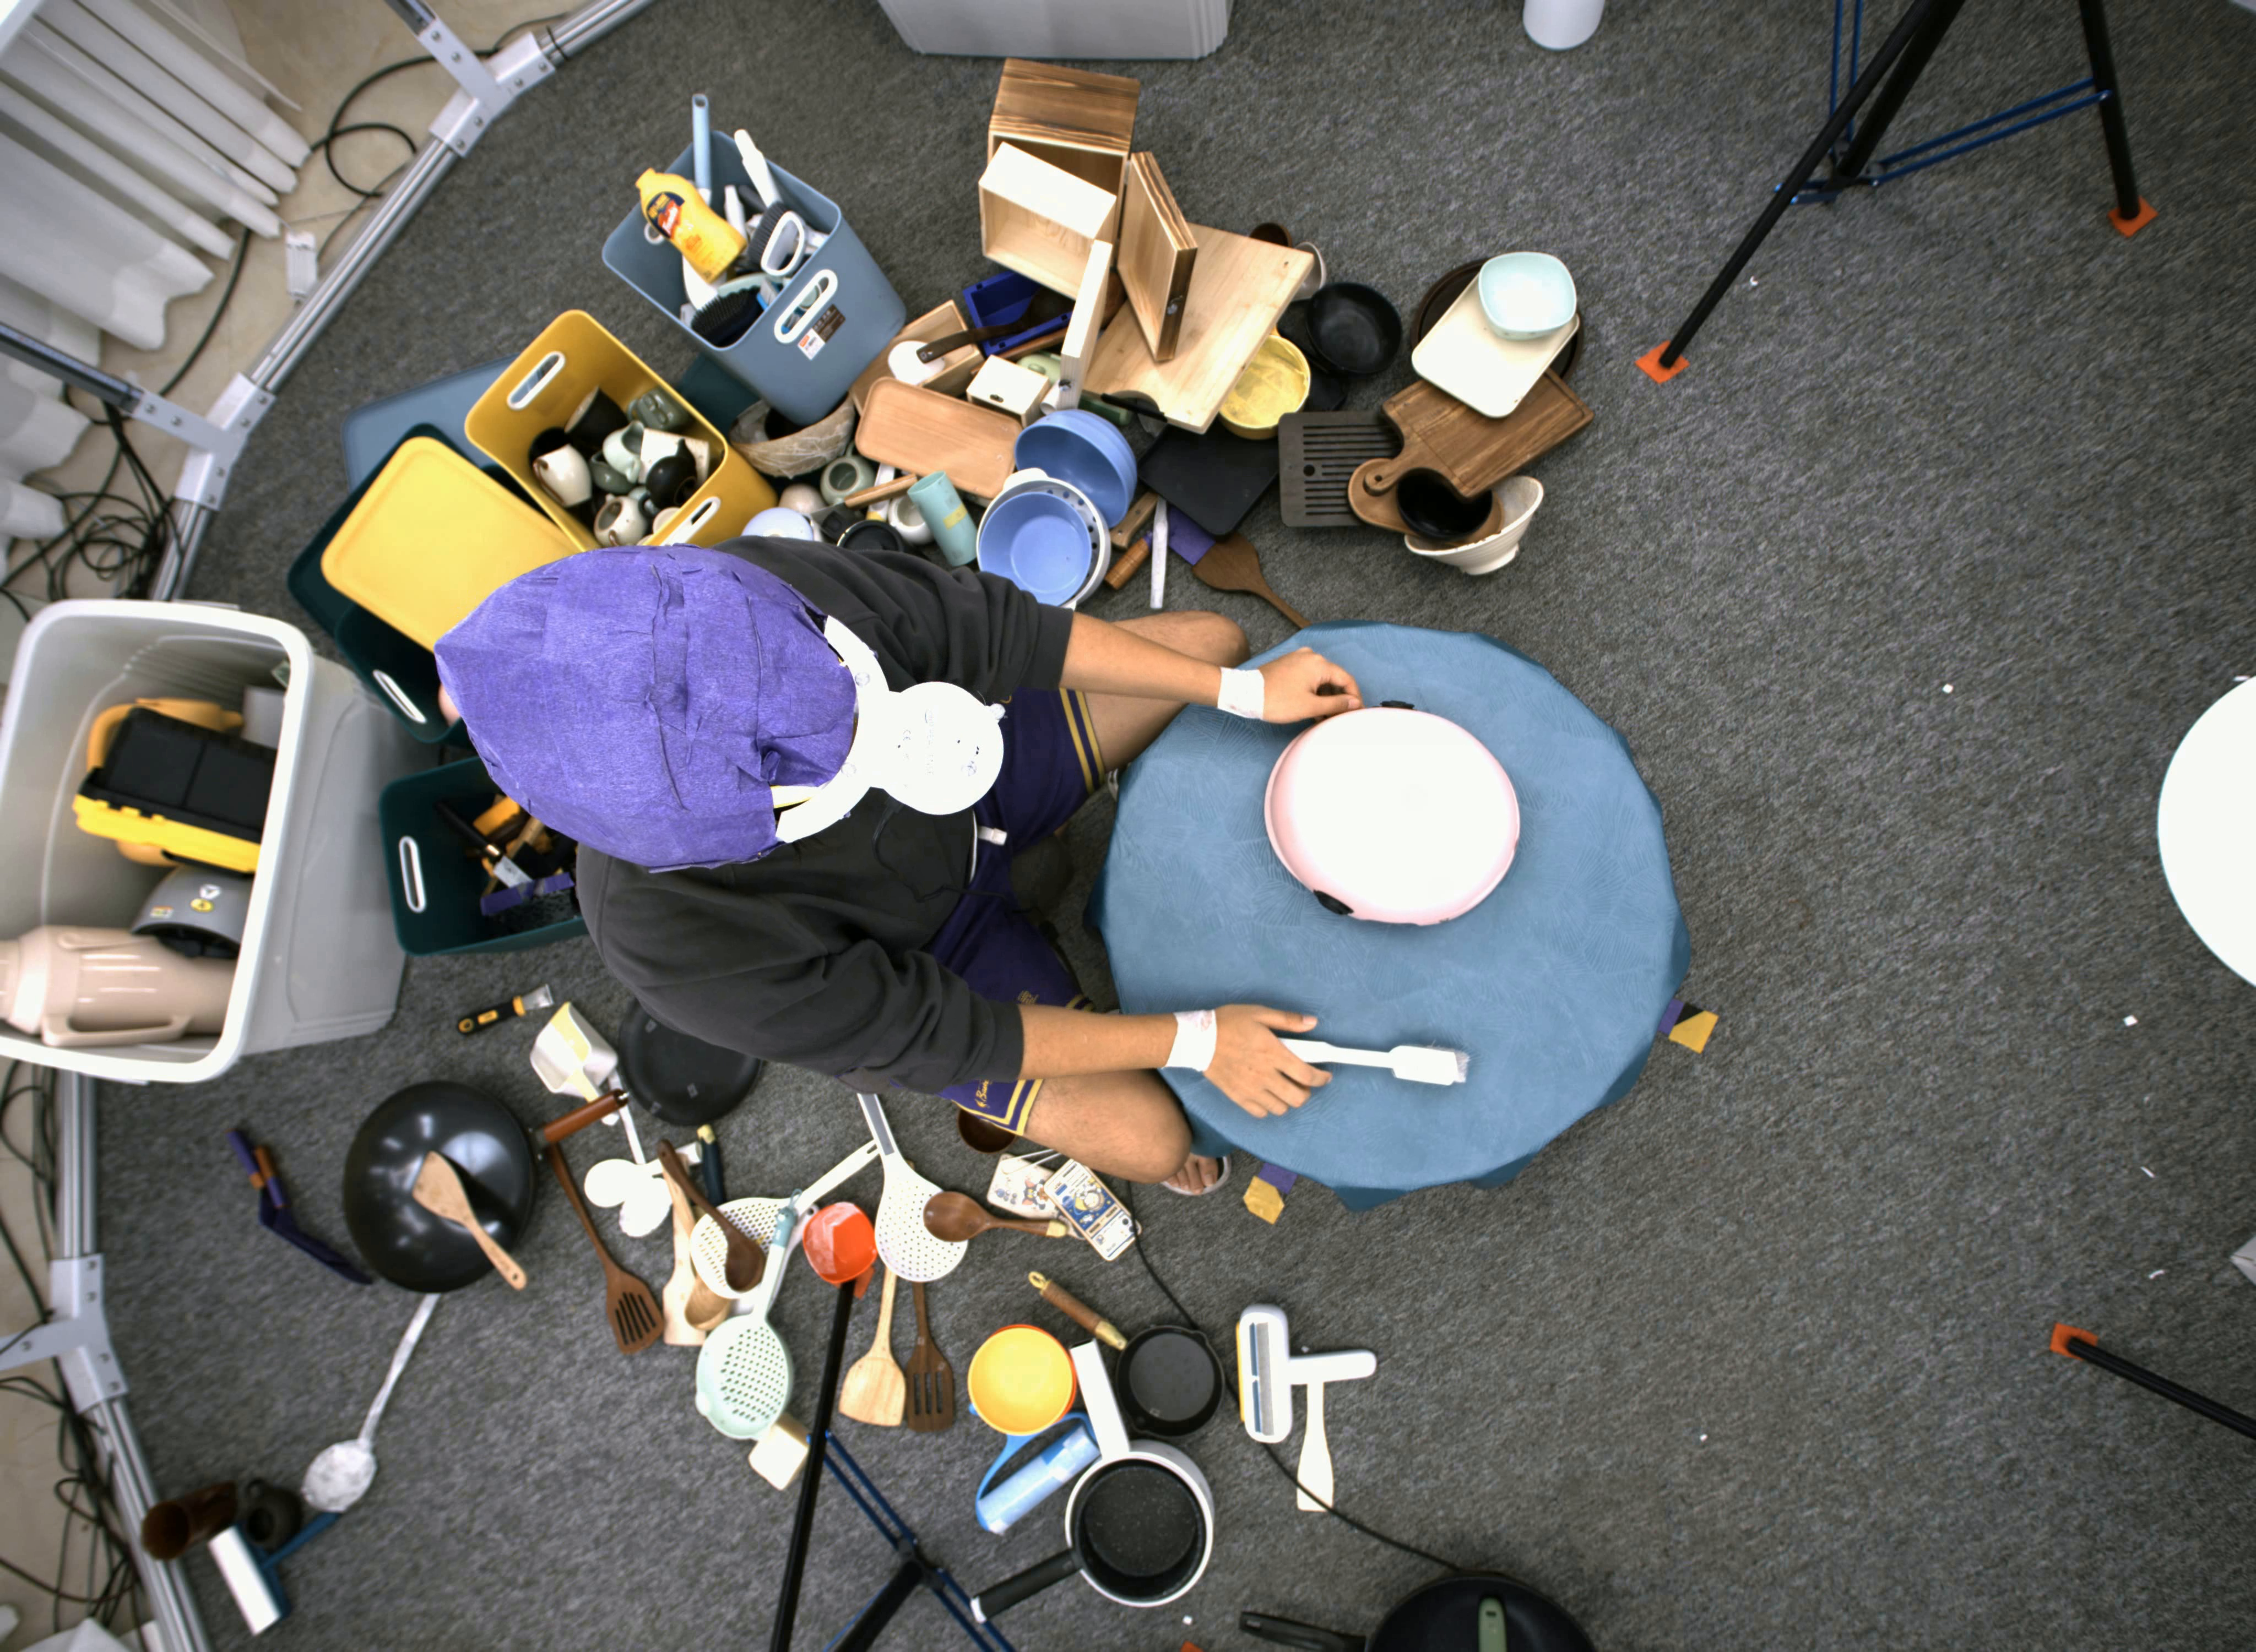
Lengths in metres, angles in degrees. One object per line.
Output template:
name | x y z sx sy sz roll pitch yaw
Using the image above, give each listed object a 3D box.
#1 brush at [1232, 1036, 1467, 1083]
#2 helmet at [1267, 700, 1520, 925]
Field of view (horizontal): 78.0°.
brush | 0.230 0.239 1.446 0.245 0.050 0.034 1 87 24
helmet | 0.261 -0.020 1.390 0.266 0.159 0.234 17 90 15
